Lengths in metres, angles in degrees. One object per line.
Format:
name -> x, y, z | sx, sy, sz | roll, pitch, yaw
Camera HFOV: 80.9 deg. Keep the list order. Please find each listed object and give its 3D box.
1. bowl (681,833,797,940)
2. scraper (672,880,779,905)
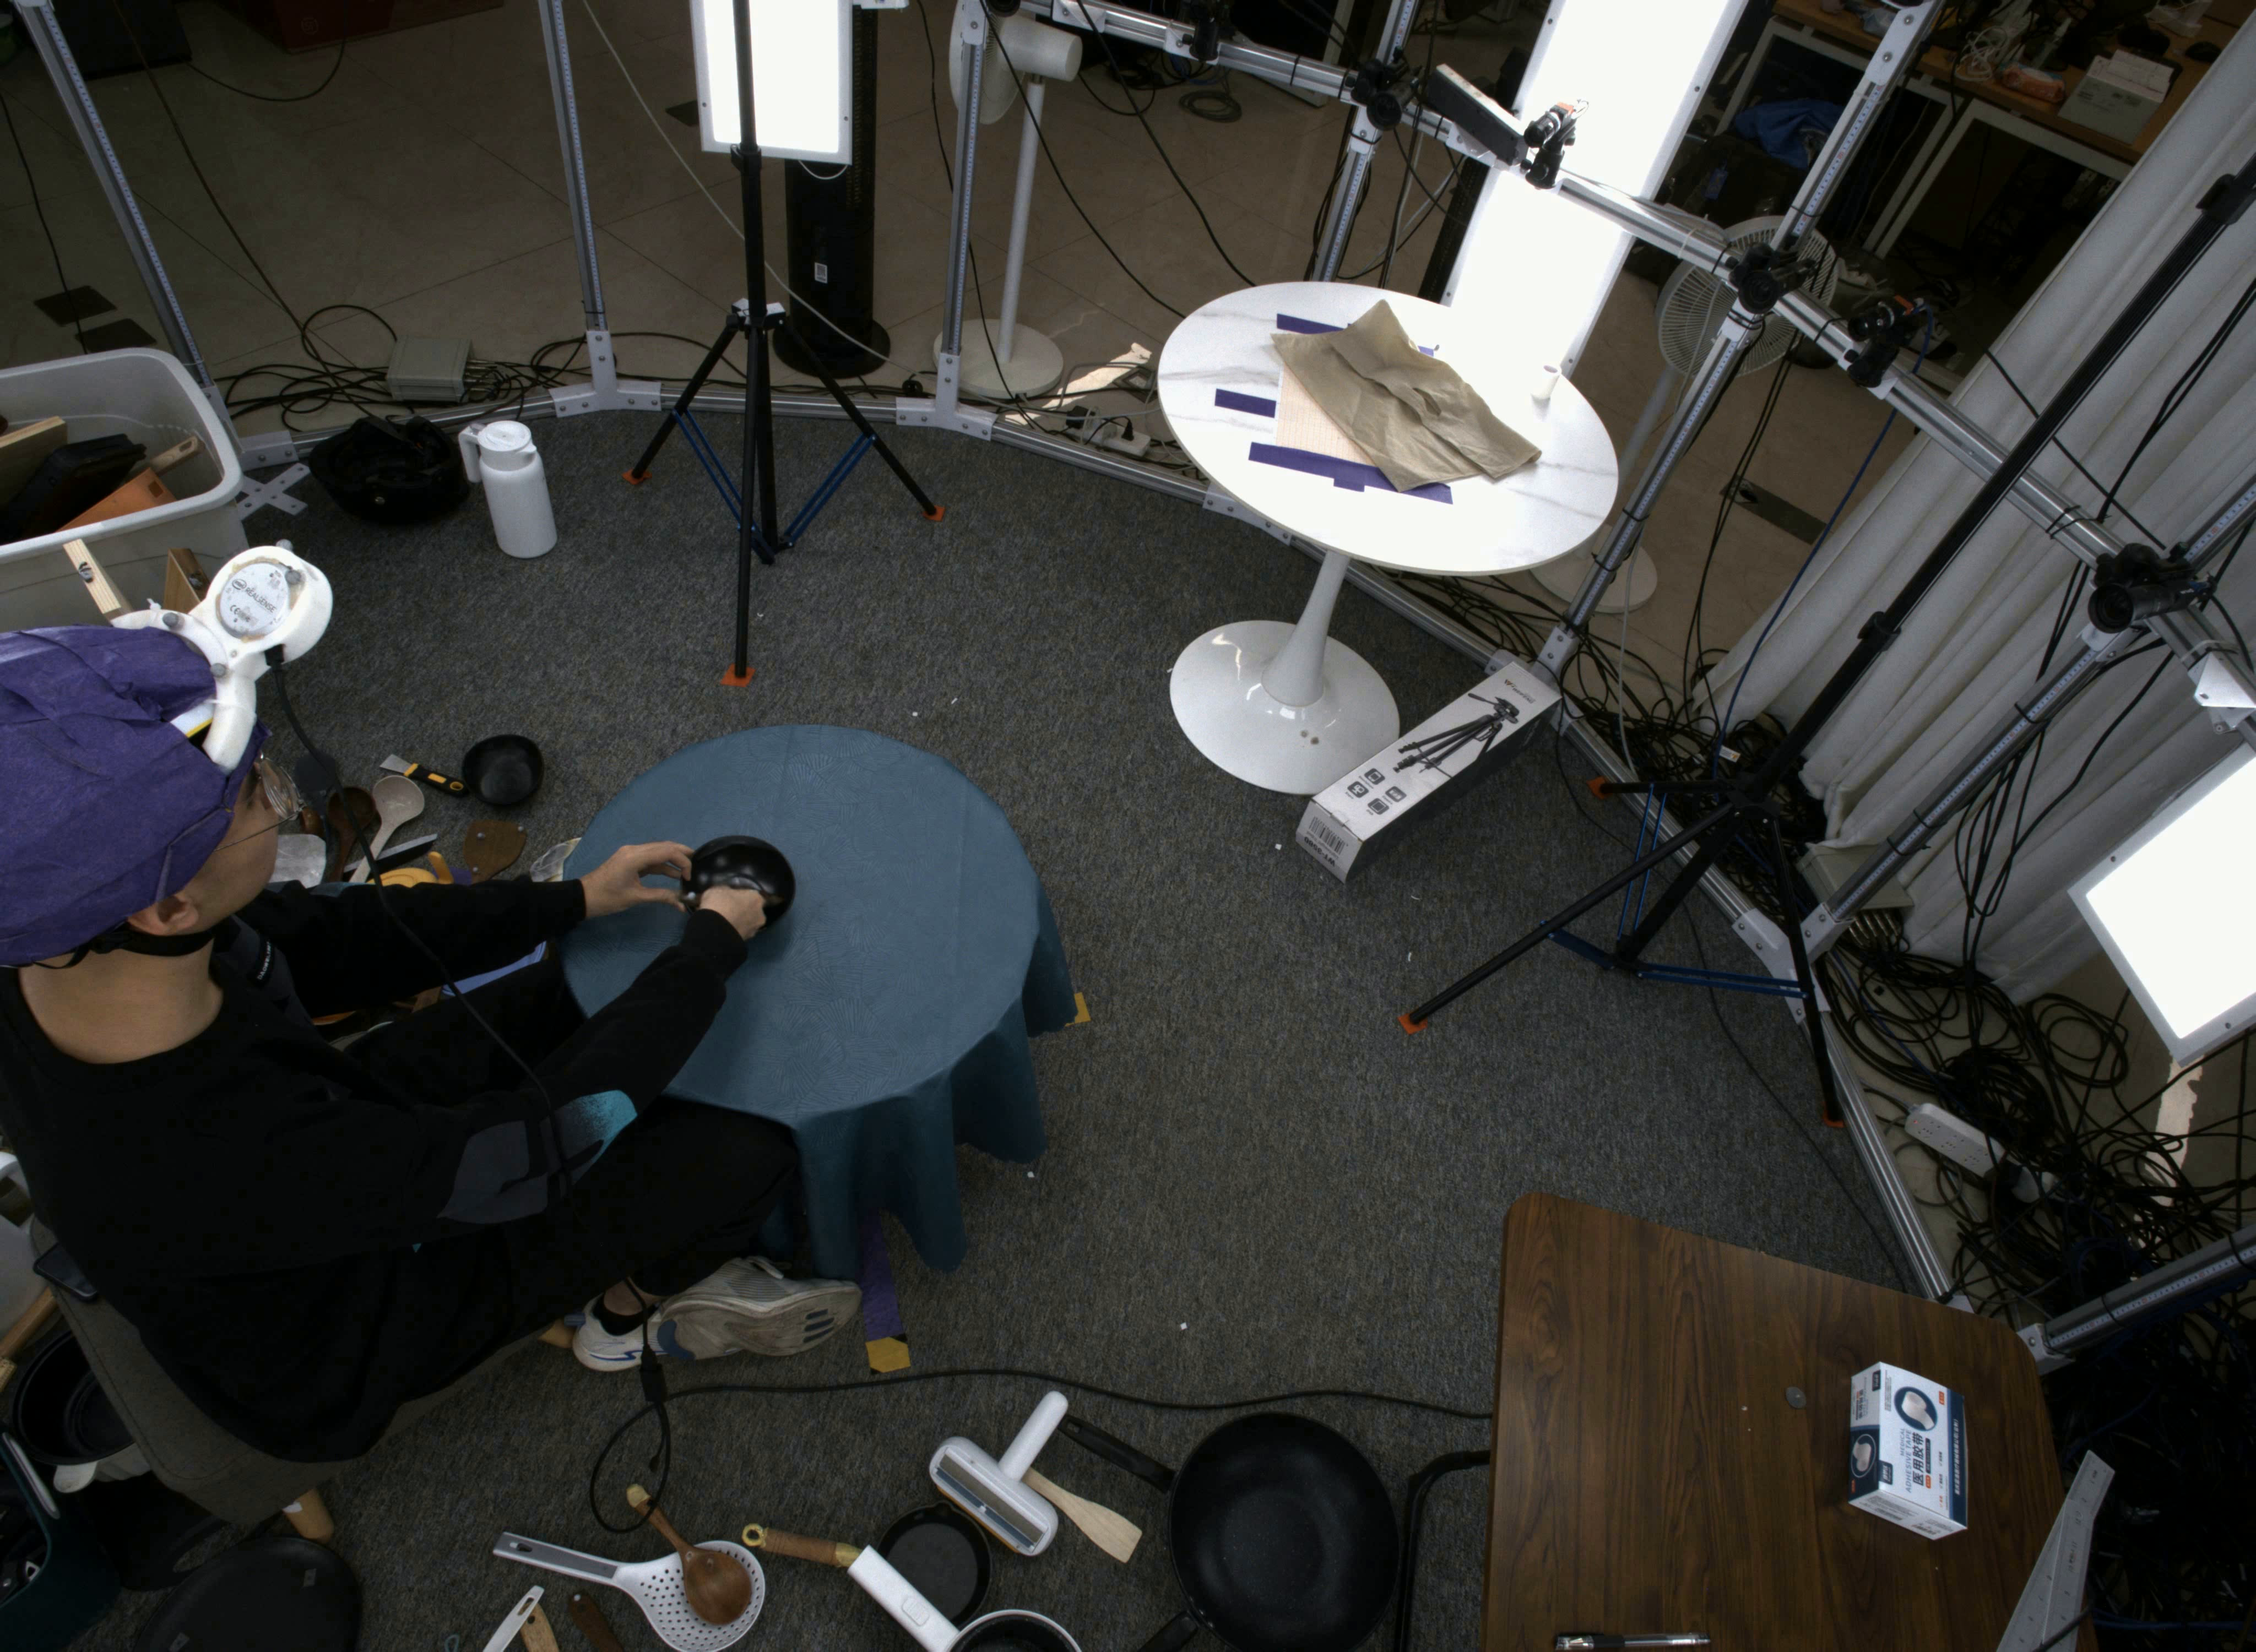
bowl -> -0.483, 0.080, 1.602 | 0.141, 0.050, 0.138 | 11, 60, -18
scraper -> -0.482, 0.079, 1.525 | 0.075, 0.212, 0.011 | 19, 91, 6
